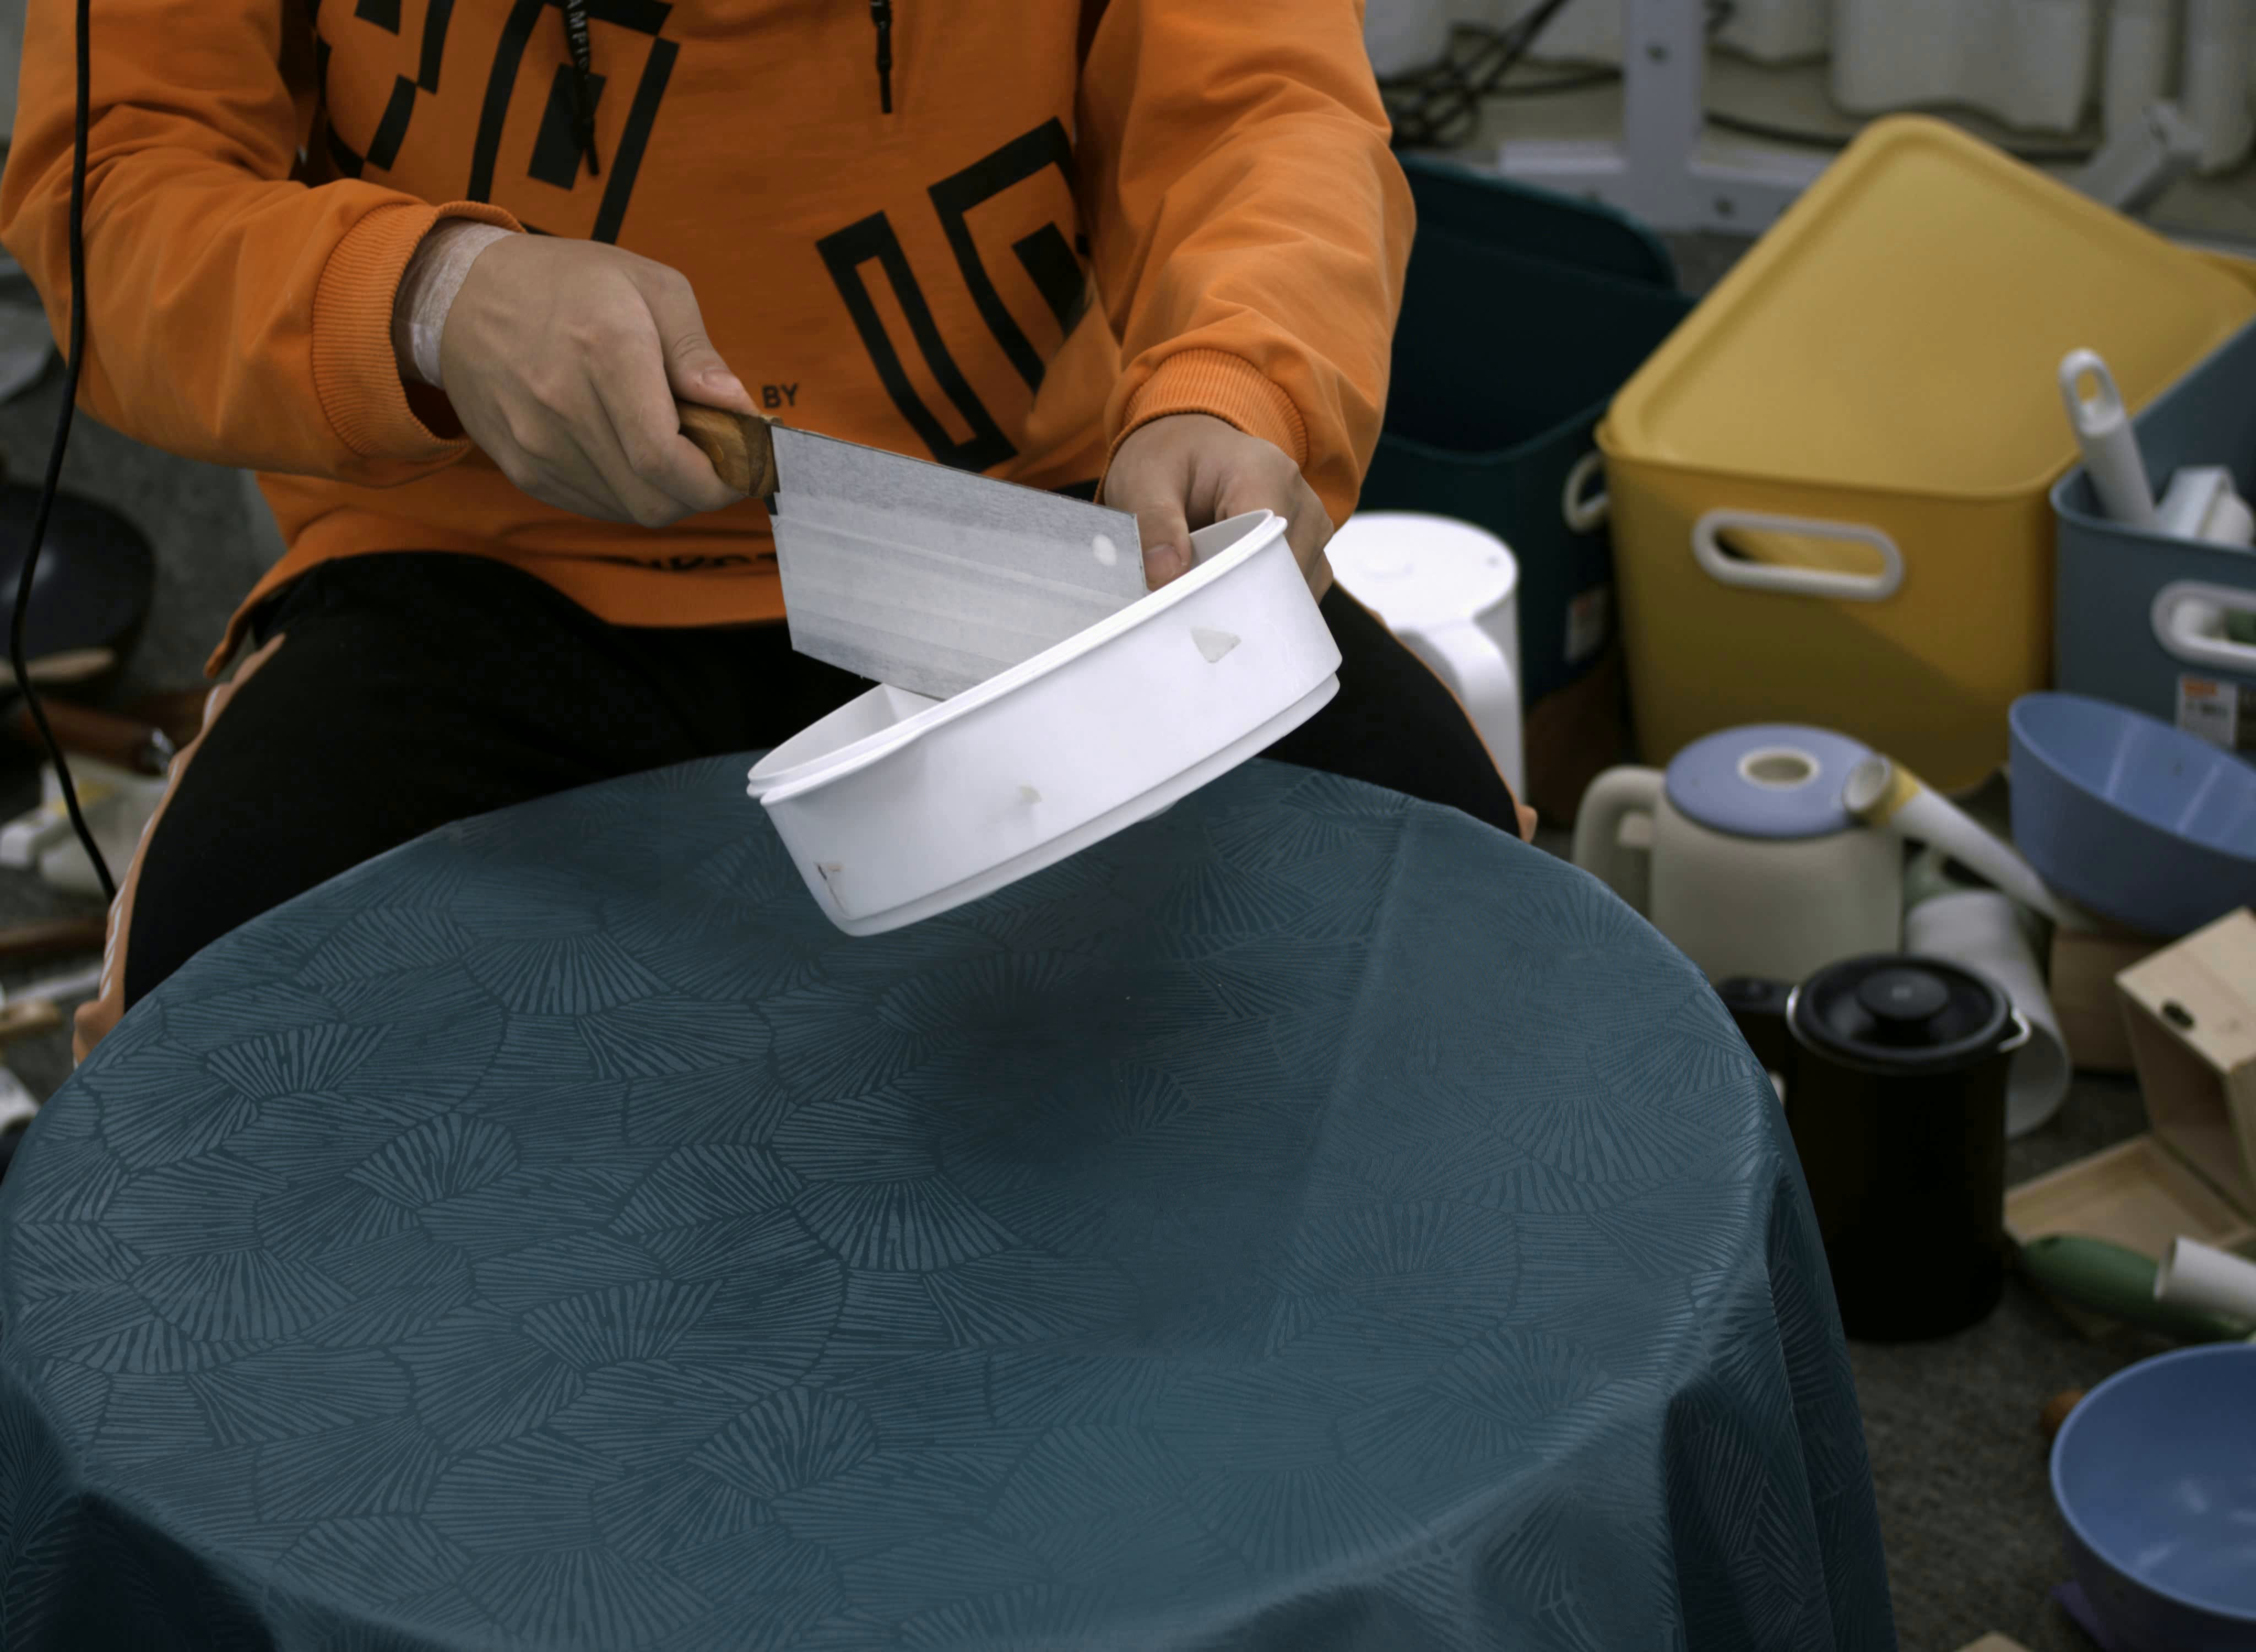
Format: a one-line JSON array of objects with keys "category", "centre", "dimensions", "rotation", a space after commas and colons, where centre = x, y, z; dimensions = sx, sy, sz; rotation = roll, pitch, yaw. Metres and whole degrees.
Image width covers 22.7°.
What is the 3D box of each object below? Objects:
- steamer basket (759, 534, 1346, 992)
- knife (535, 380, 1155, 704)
[{"category": "steamer basket", "centre": [-0.022, -0.019, 1.869], "dimensions": [0.199, 0.069, 0.234], "rotation": [-21, 13, 41]}, {"category": "knife", "centre": [-0.098, -0.095, 1.938], "dimensions": [0.021, 0.092, 0.304], "rotation": [-28, 30, -37]}]
